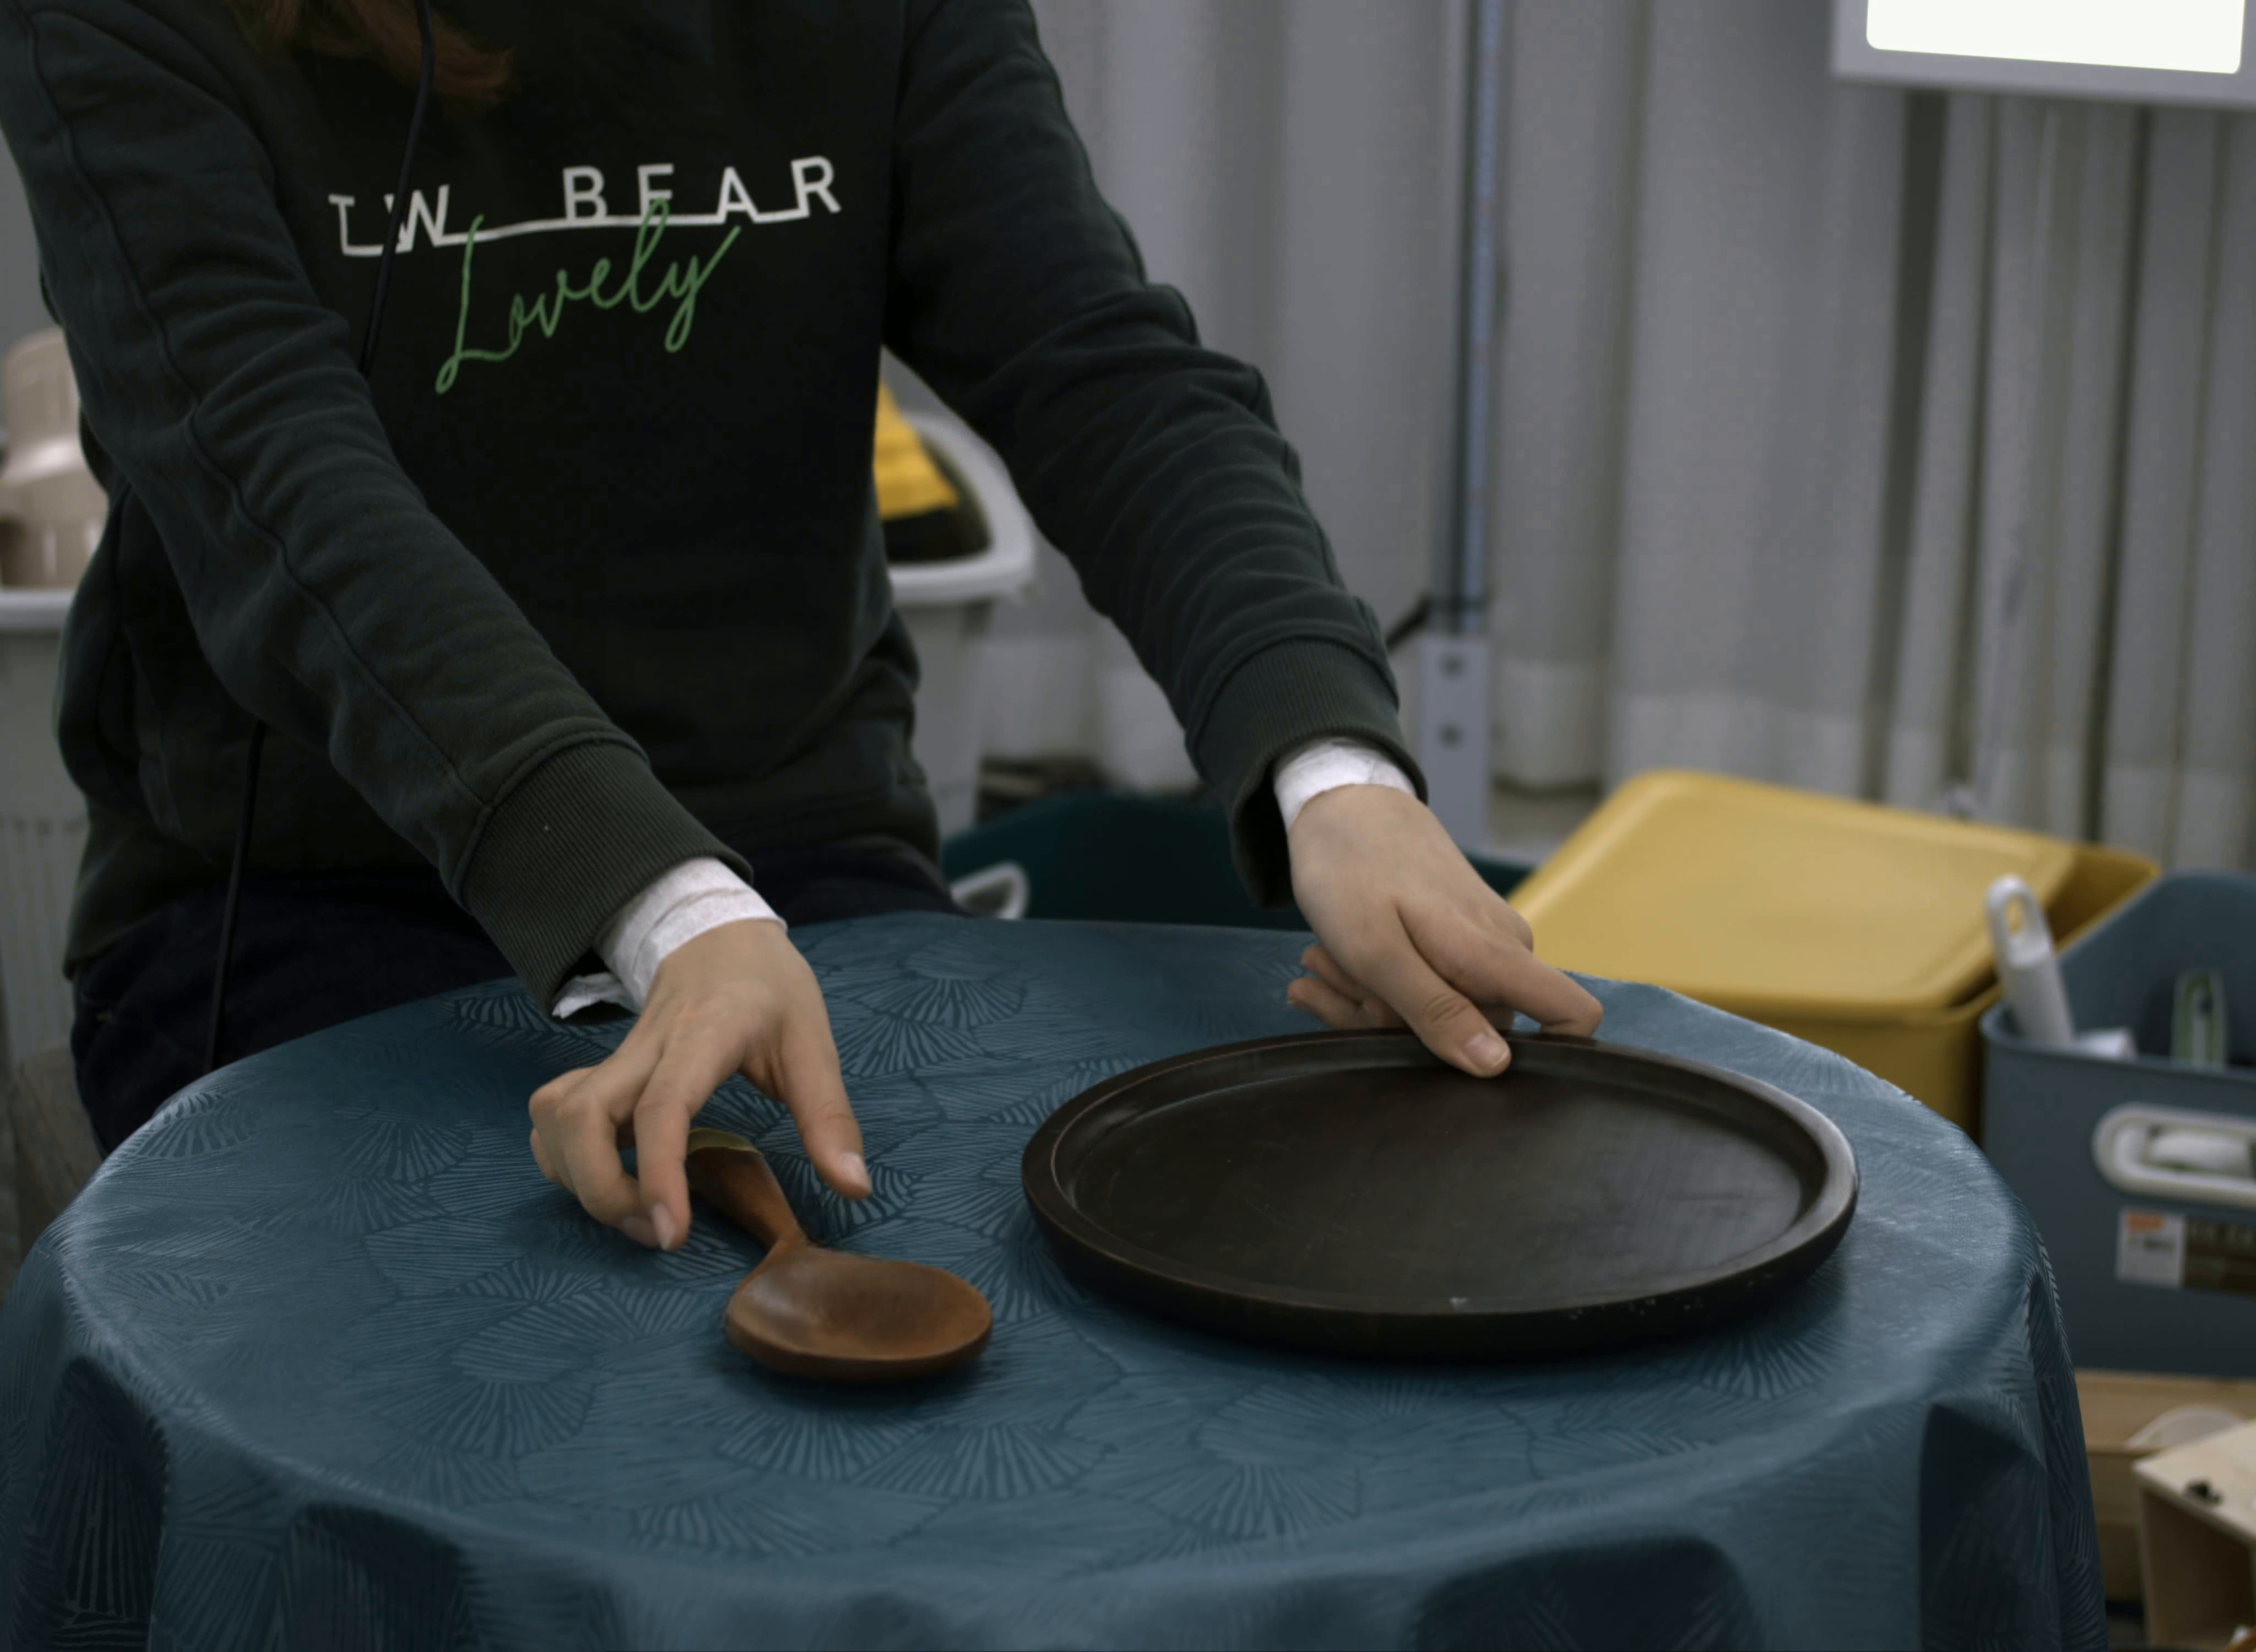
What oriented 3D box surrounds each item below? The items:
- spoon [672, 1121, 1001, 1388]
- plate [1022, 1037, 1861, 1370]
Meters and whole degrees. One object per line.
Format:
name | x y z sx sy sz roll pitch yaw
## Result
spoon | -0.096 0.126 1.543 0.075 0.017 0.213 -5 17 -19
plate | 0.094 0.110 1.590 0.254 0.029 0.253 1 17 0
